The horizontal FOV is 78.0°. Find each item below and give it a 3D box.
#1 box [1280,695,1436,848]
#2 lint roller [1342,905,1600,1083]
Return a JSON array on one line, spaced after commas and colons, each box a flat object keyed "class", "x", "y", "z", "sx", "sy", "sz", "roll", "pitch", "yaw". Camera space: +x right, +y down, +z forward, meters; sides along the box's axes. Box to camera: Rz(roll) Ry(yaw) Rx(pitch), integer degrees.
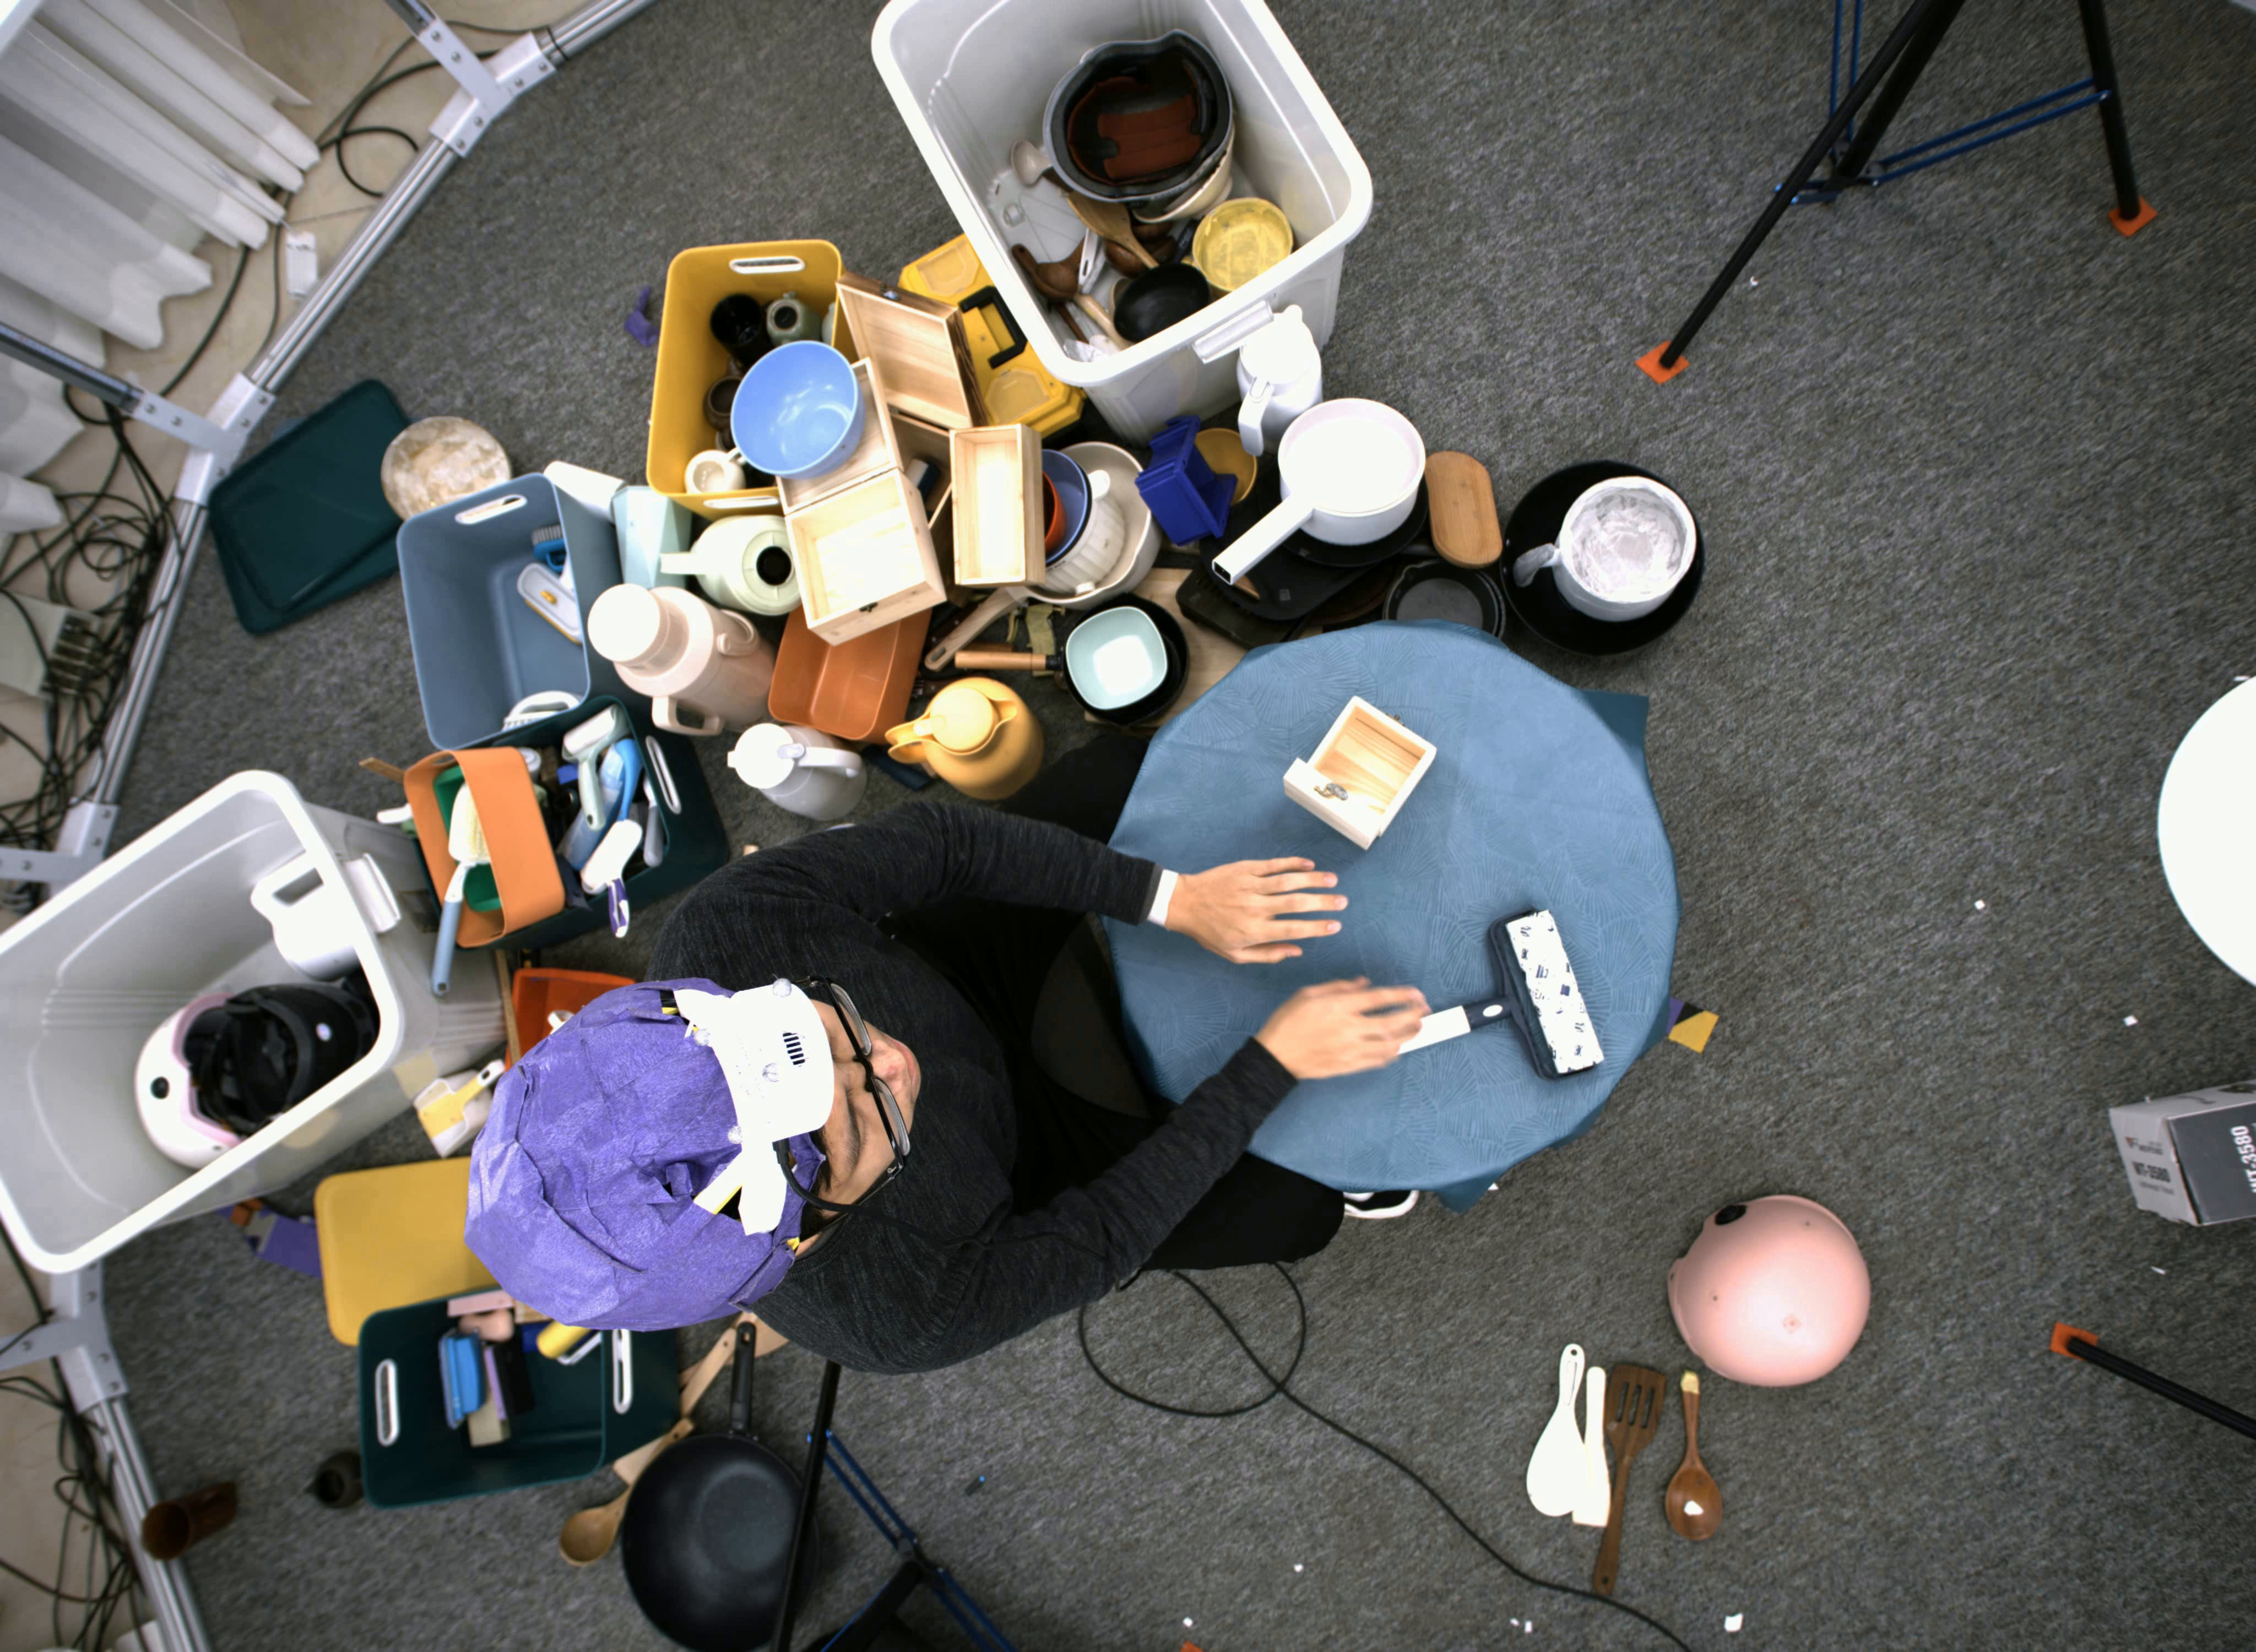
[{"class": "box", "x": 0.234, "y": -0.060, "z": 1.382, "sx": 0.102, "sy": 0.184, "sz": 0.134, "roll": 34, "pitch": 92, "yaw": 12}, {"class": "lint roller", "x": 0.340, "y": 0.200, "z": 1.418, "sx": 0.248, "sy": 0.050, "sz": 0.175, "roll": -20, "pitch": 84, "yaw": 9}]
